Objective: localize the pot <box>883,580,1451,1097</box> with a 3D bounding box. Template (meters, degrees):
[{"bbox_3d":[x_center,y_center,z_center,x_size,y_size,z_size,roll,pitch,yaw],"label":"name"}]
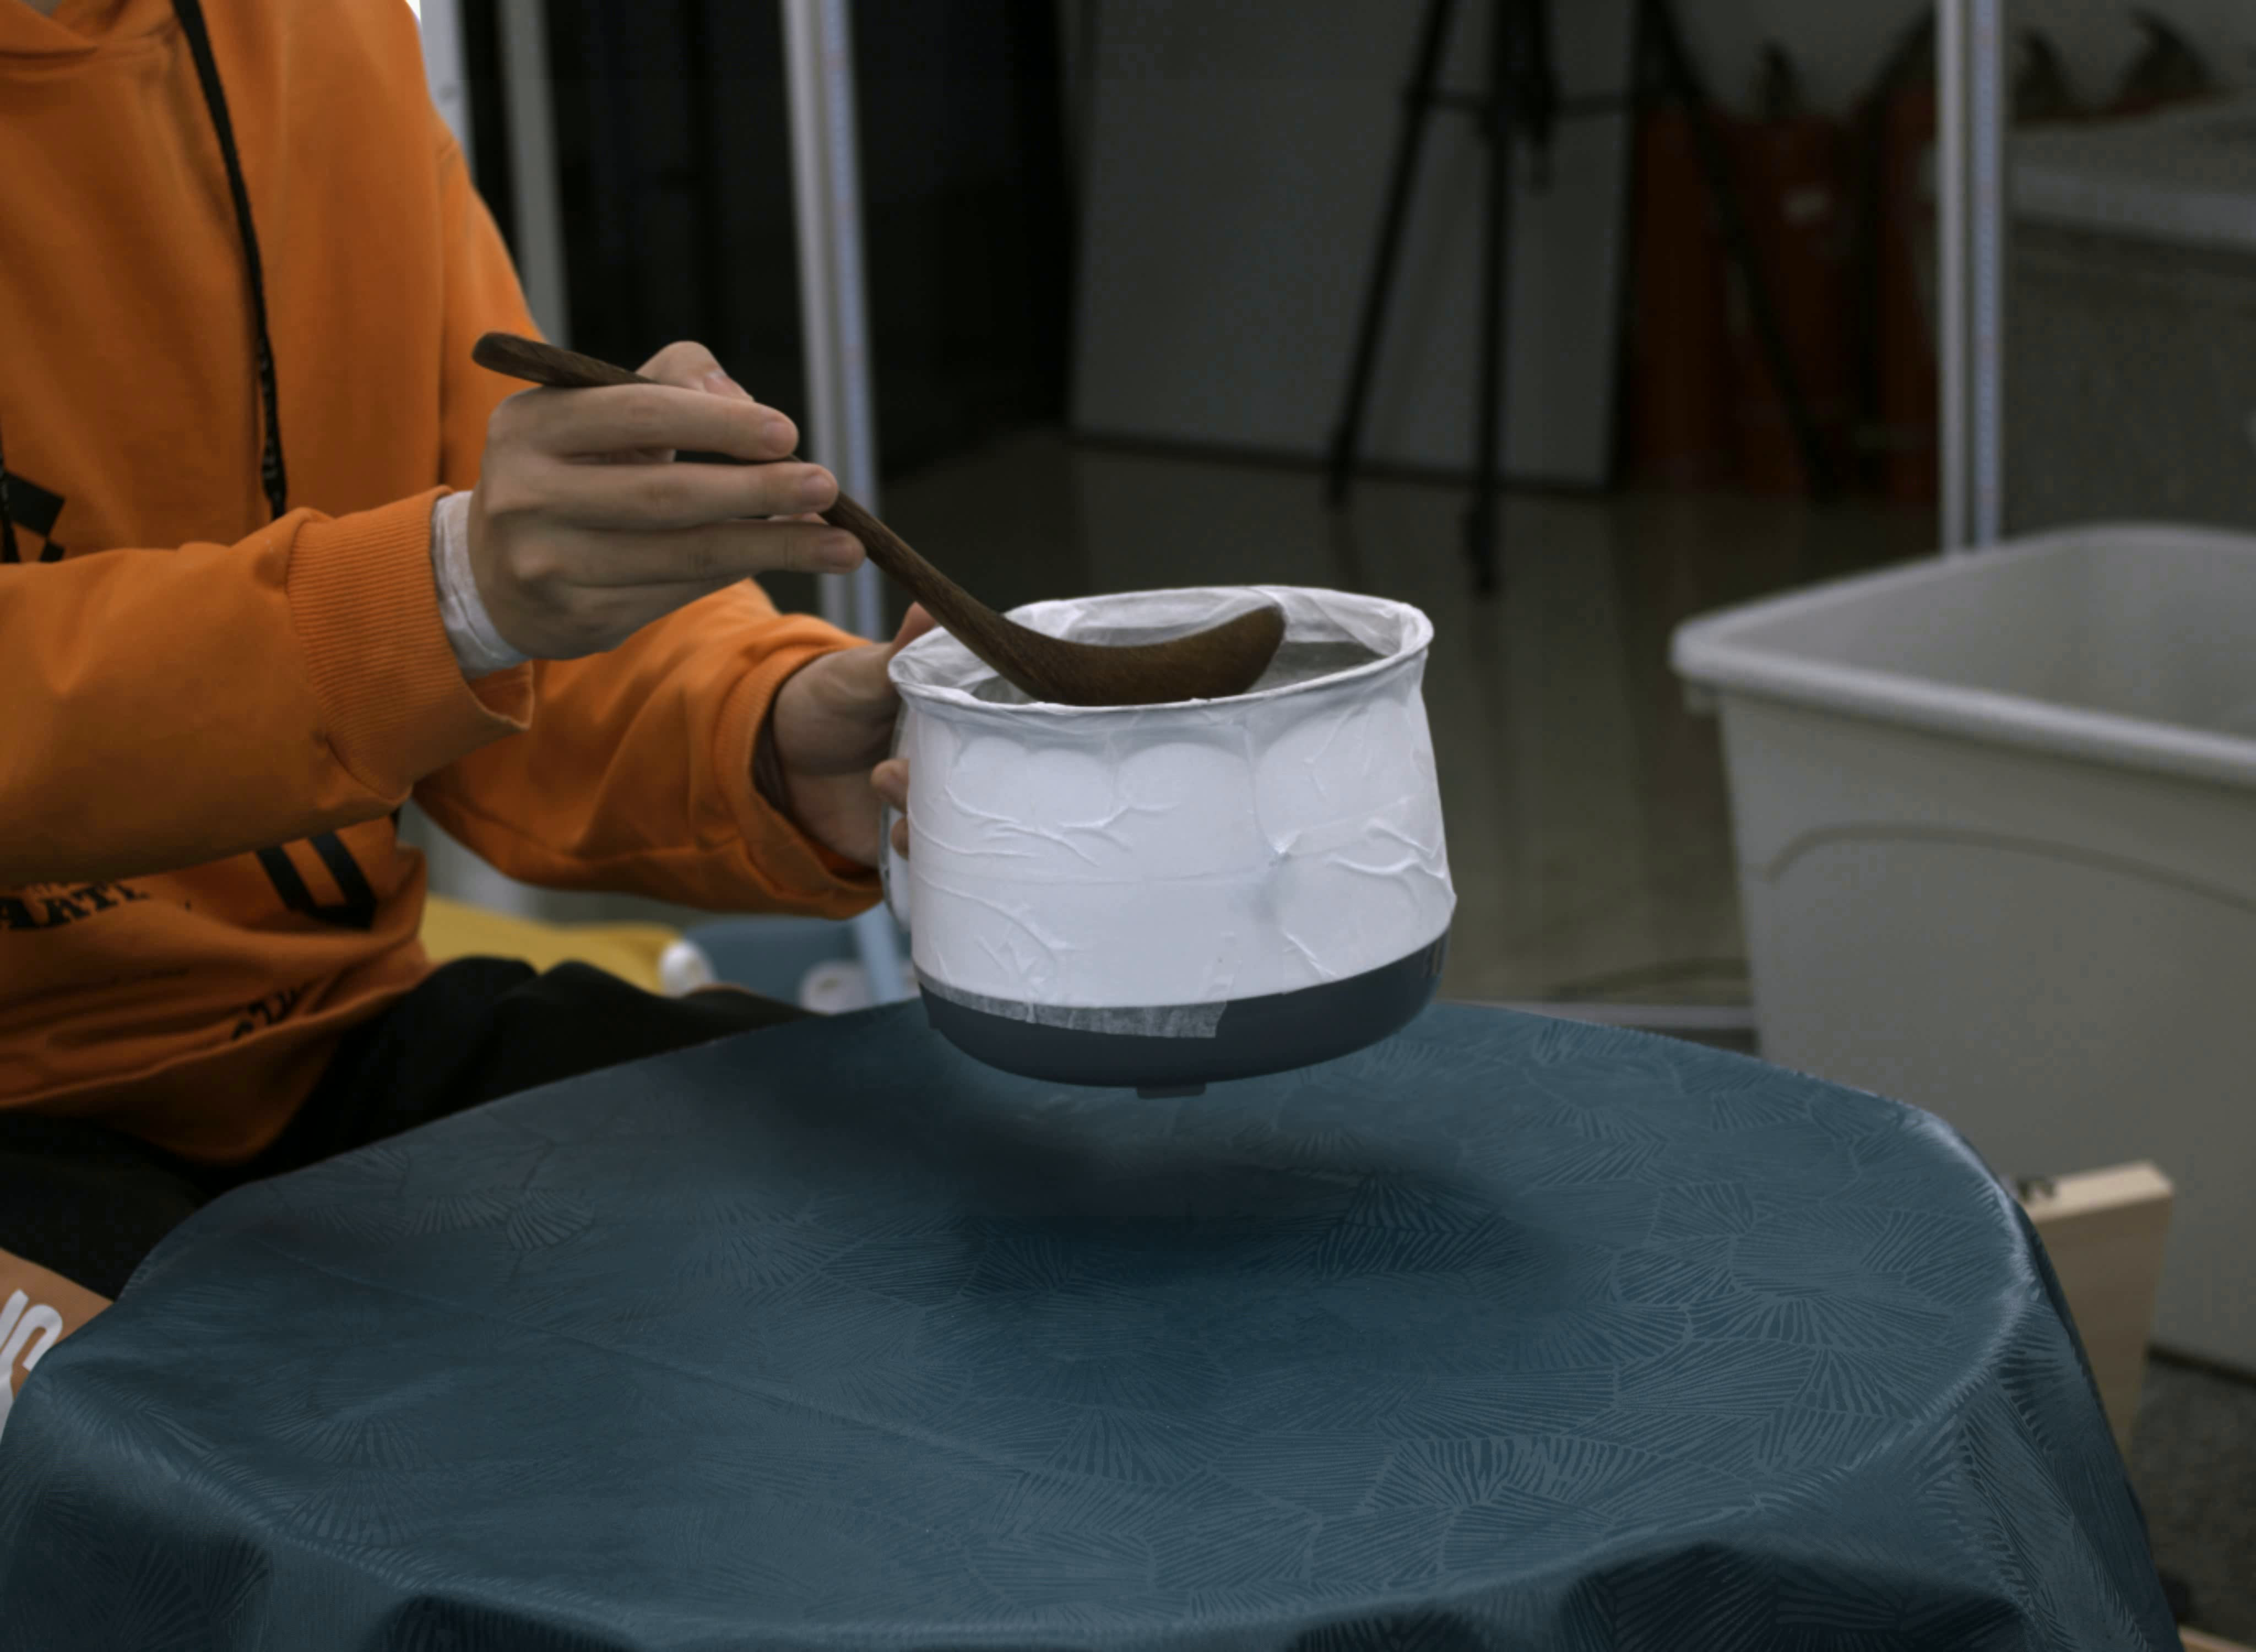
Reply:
[{"bbox_3d":[-0.003,-0.002,1.760,0.175,0.138,0.236,-14,16,-39],"label":"pot"}]

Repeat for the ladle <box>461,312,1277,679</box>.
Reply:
[{"bbox_3d":[-0.078,-0.114,1.723,0.271,0.071,0.076,32,-19,-9],"label":"ladle"}]
